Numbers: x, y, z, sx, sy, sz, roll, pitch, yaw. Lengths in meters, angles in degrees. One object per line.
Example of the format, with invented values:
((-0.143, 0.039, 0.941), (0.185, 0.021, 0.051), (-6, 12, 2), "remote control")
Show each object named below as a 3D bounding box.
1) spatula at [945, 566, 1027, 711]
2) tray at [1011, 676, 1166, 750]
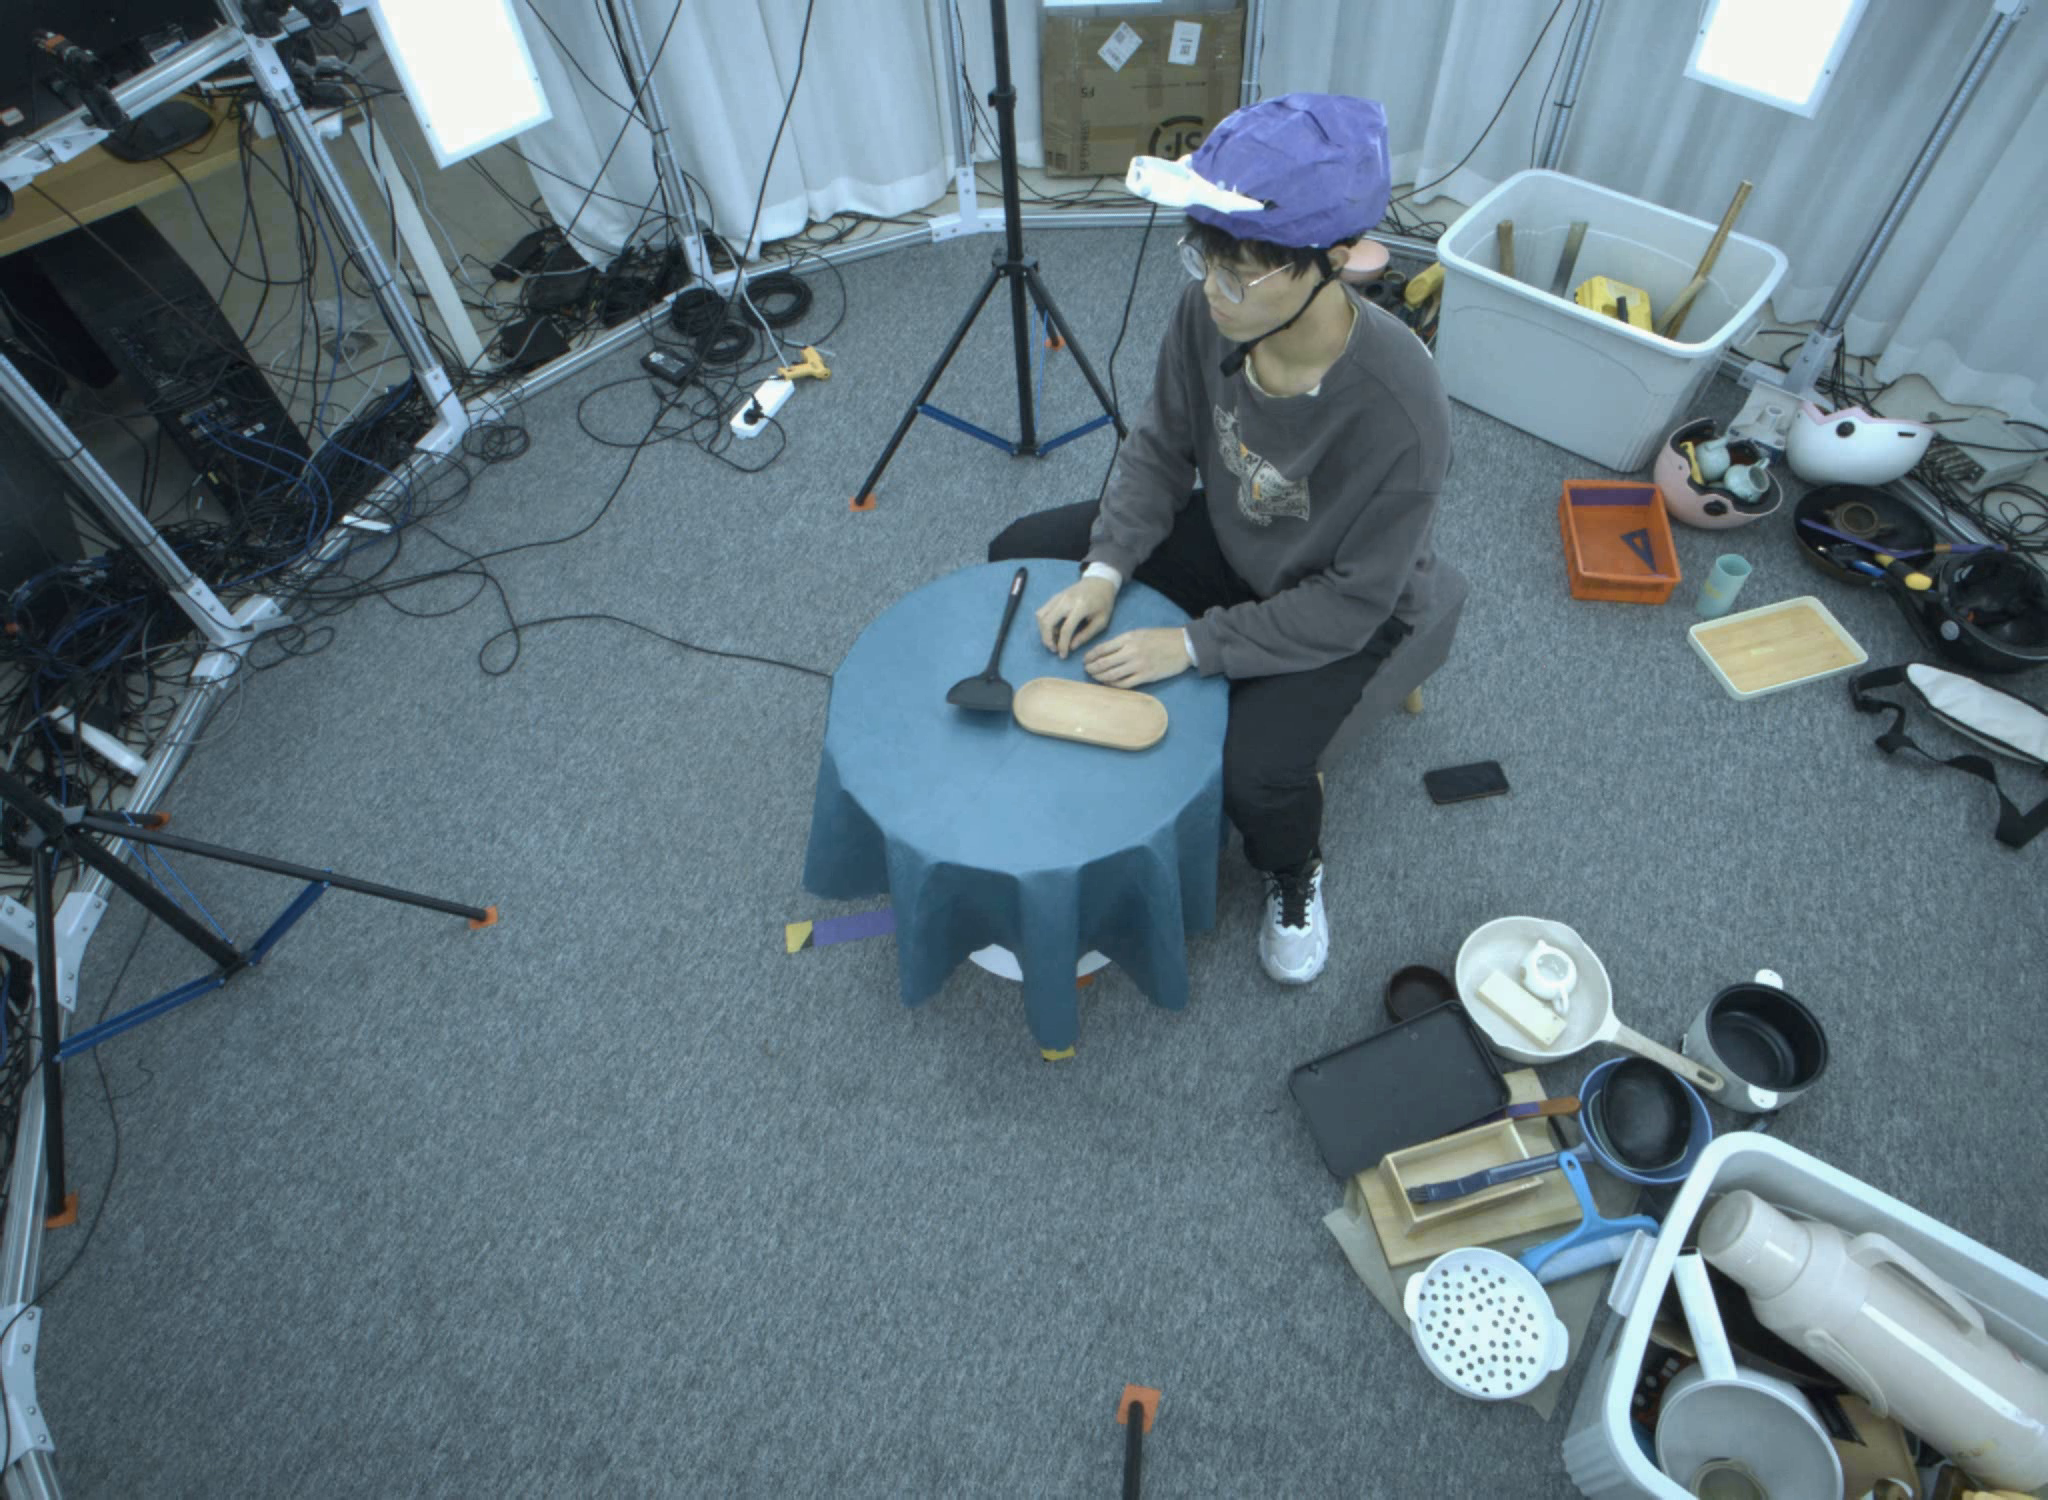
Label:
((-0.036, -0.179, 1.892), (0.099, 0.041, 0.324), (10, 55, 7), "spatula")
((0.094, -0.054, 1.810), (0.229, 0.020, 0.101), (10, 55, 10), "tray")
